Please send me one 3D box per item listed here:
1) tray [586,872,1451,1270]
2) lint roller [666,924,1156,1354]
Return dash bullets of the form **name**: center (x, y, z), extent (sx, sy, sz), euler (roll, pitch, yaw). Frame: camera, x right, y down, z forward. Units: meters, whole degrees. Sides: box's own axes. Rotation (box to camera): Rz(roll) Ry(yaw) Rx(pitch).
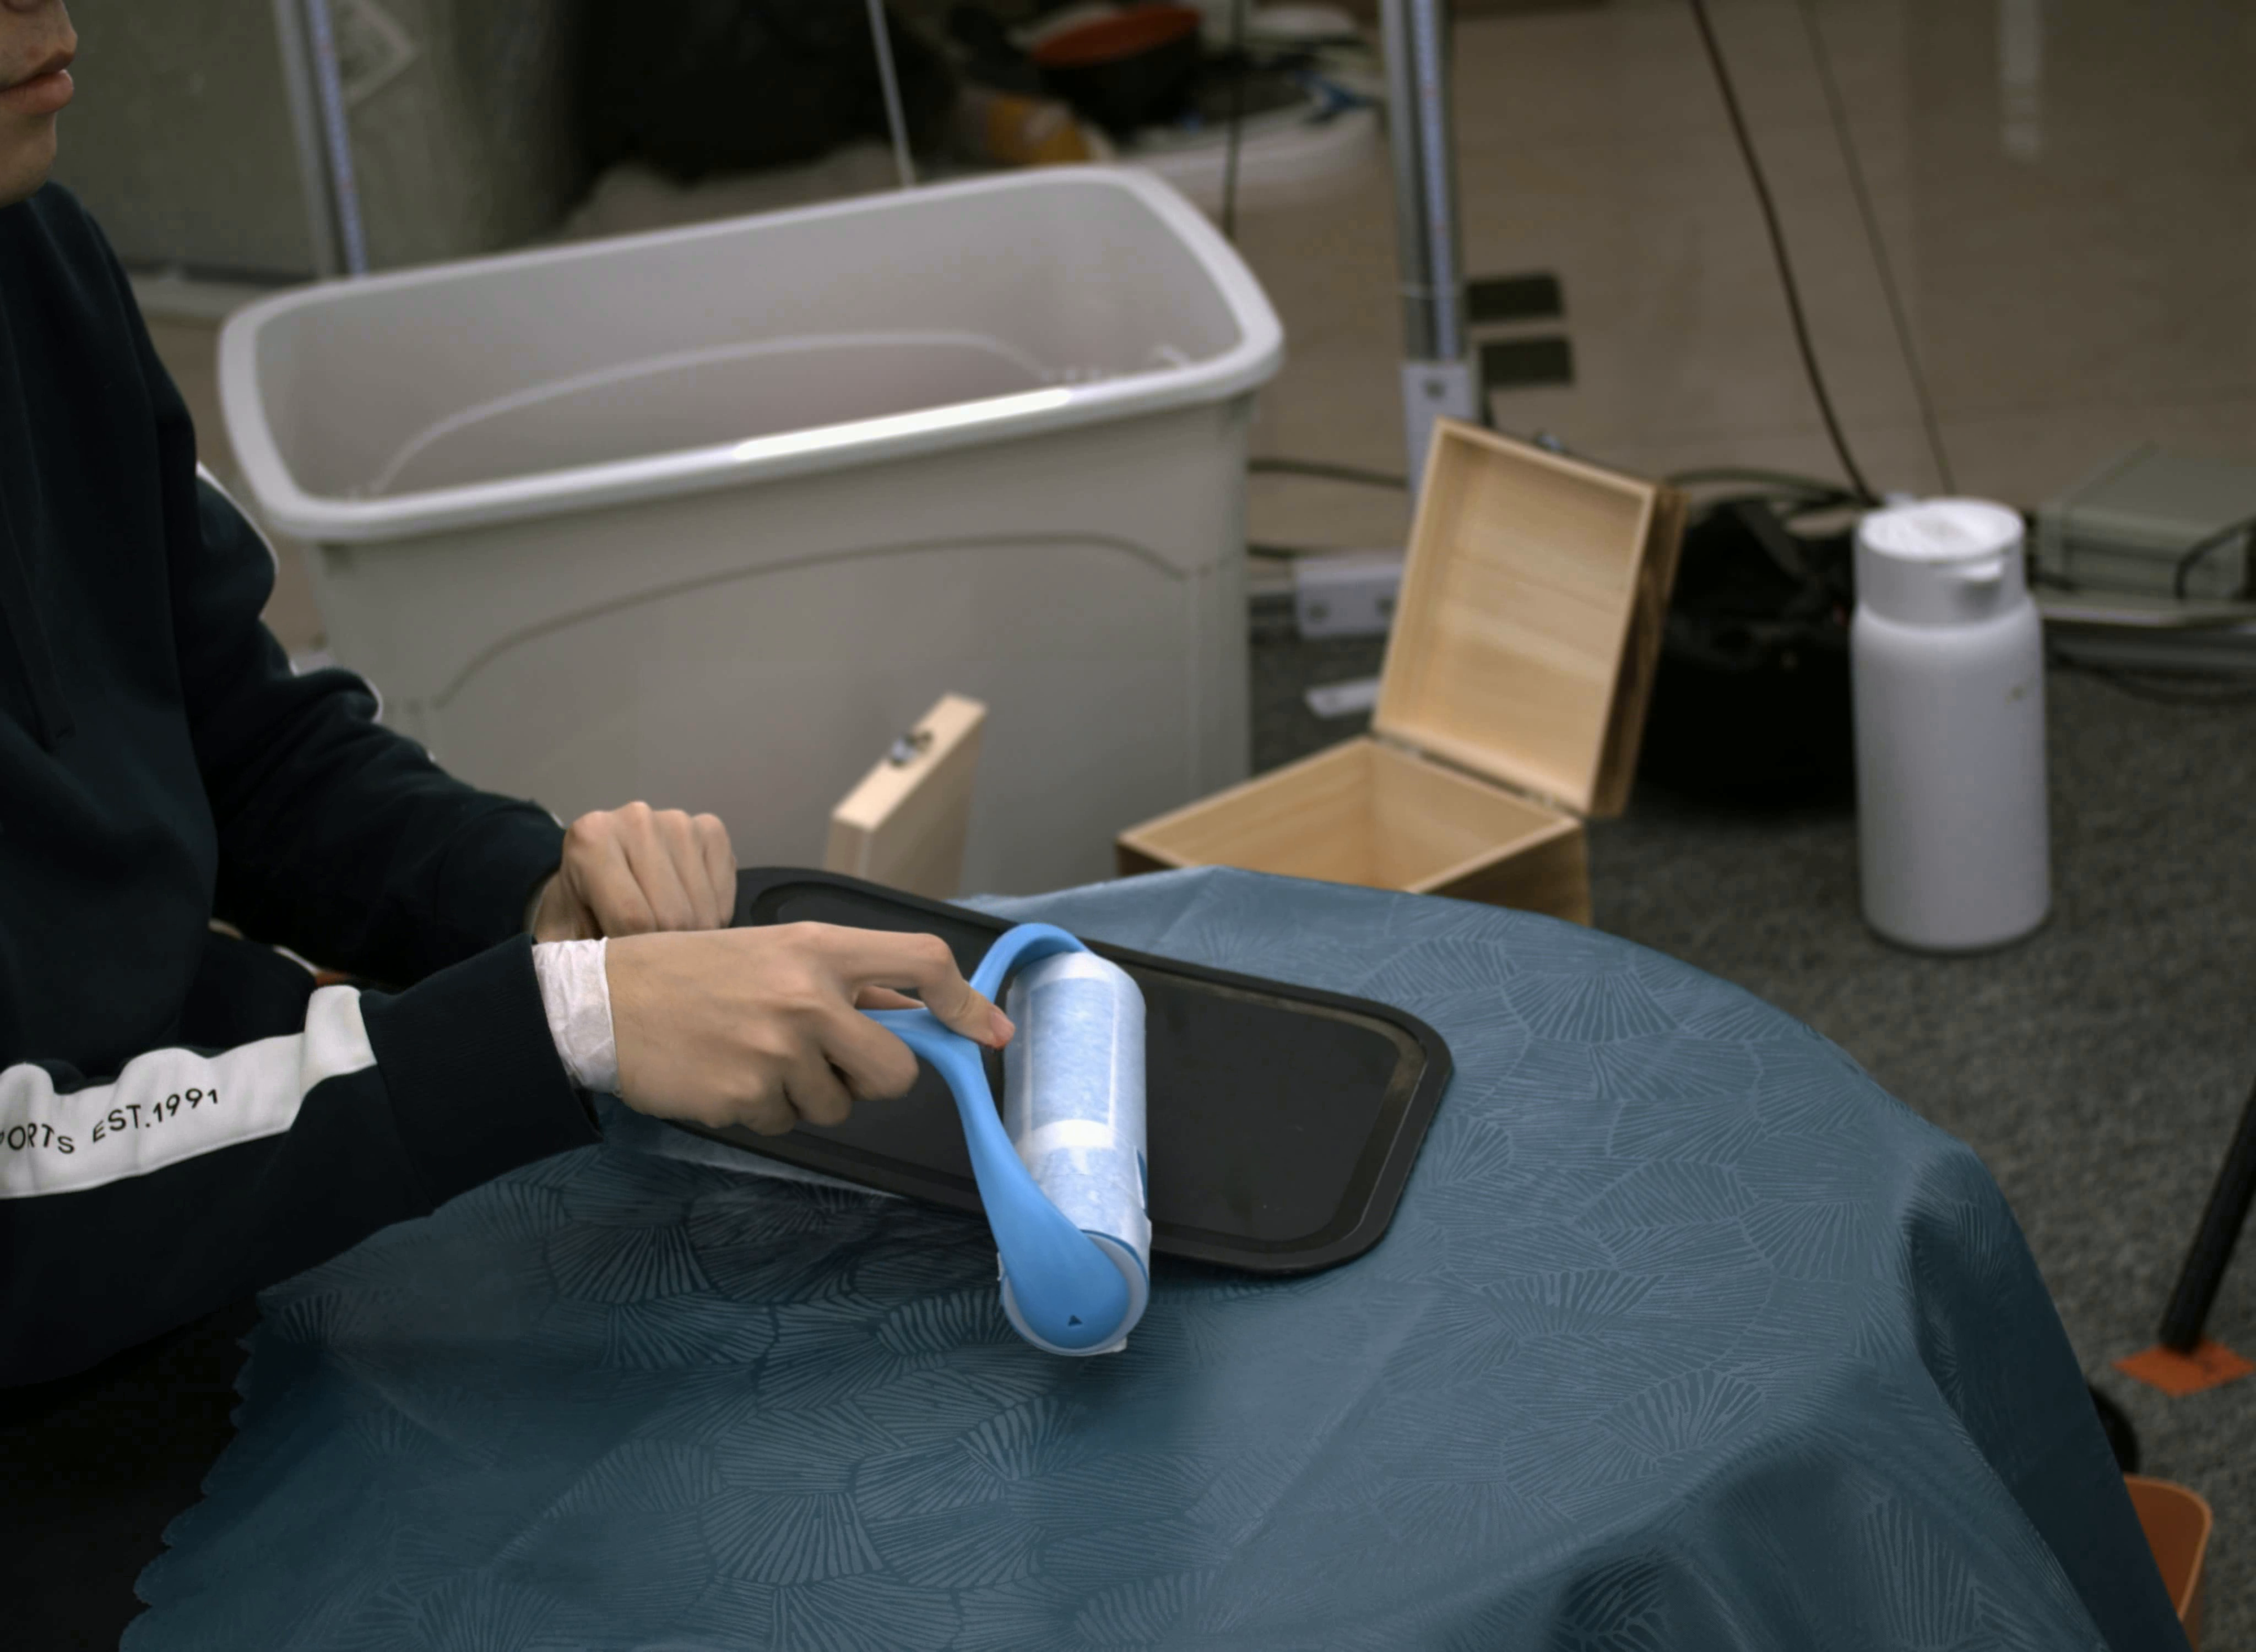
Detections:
- **tray**: center (-0.046, 0.088, 2.173), extent (0.324, 0.010, 0.208), euler (14, 29, 9)
- **lint roller**: center (-0.074, 0.100, 2.068), extent (0.180, 0.069, 0.225), euler (17, 30, -13)
